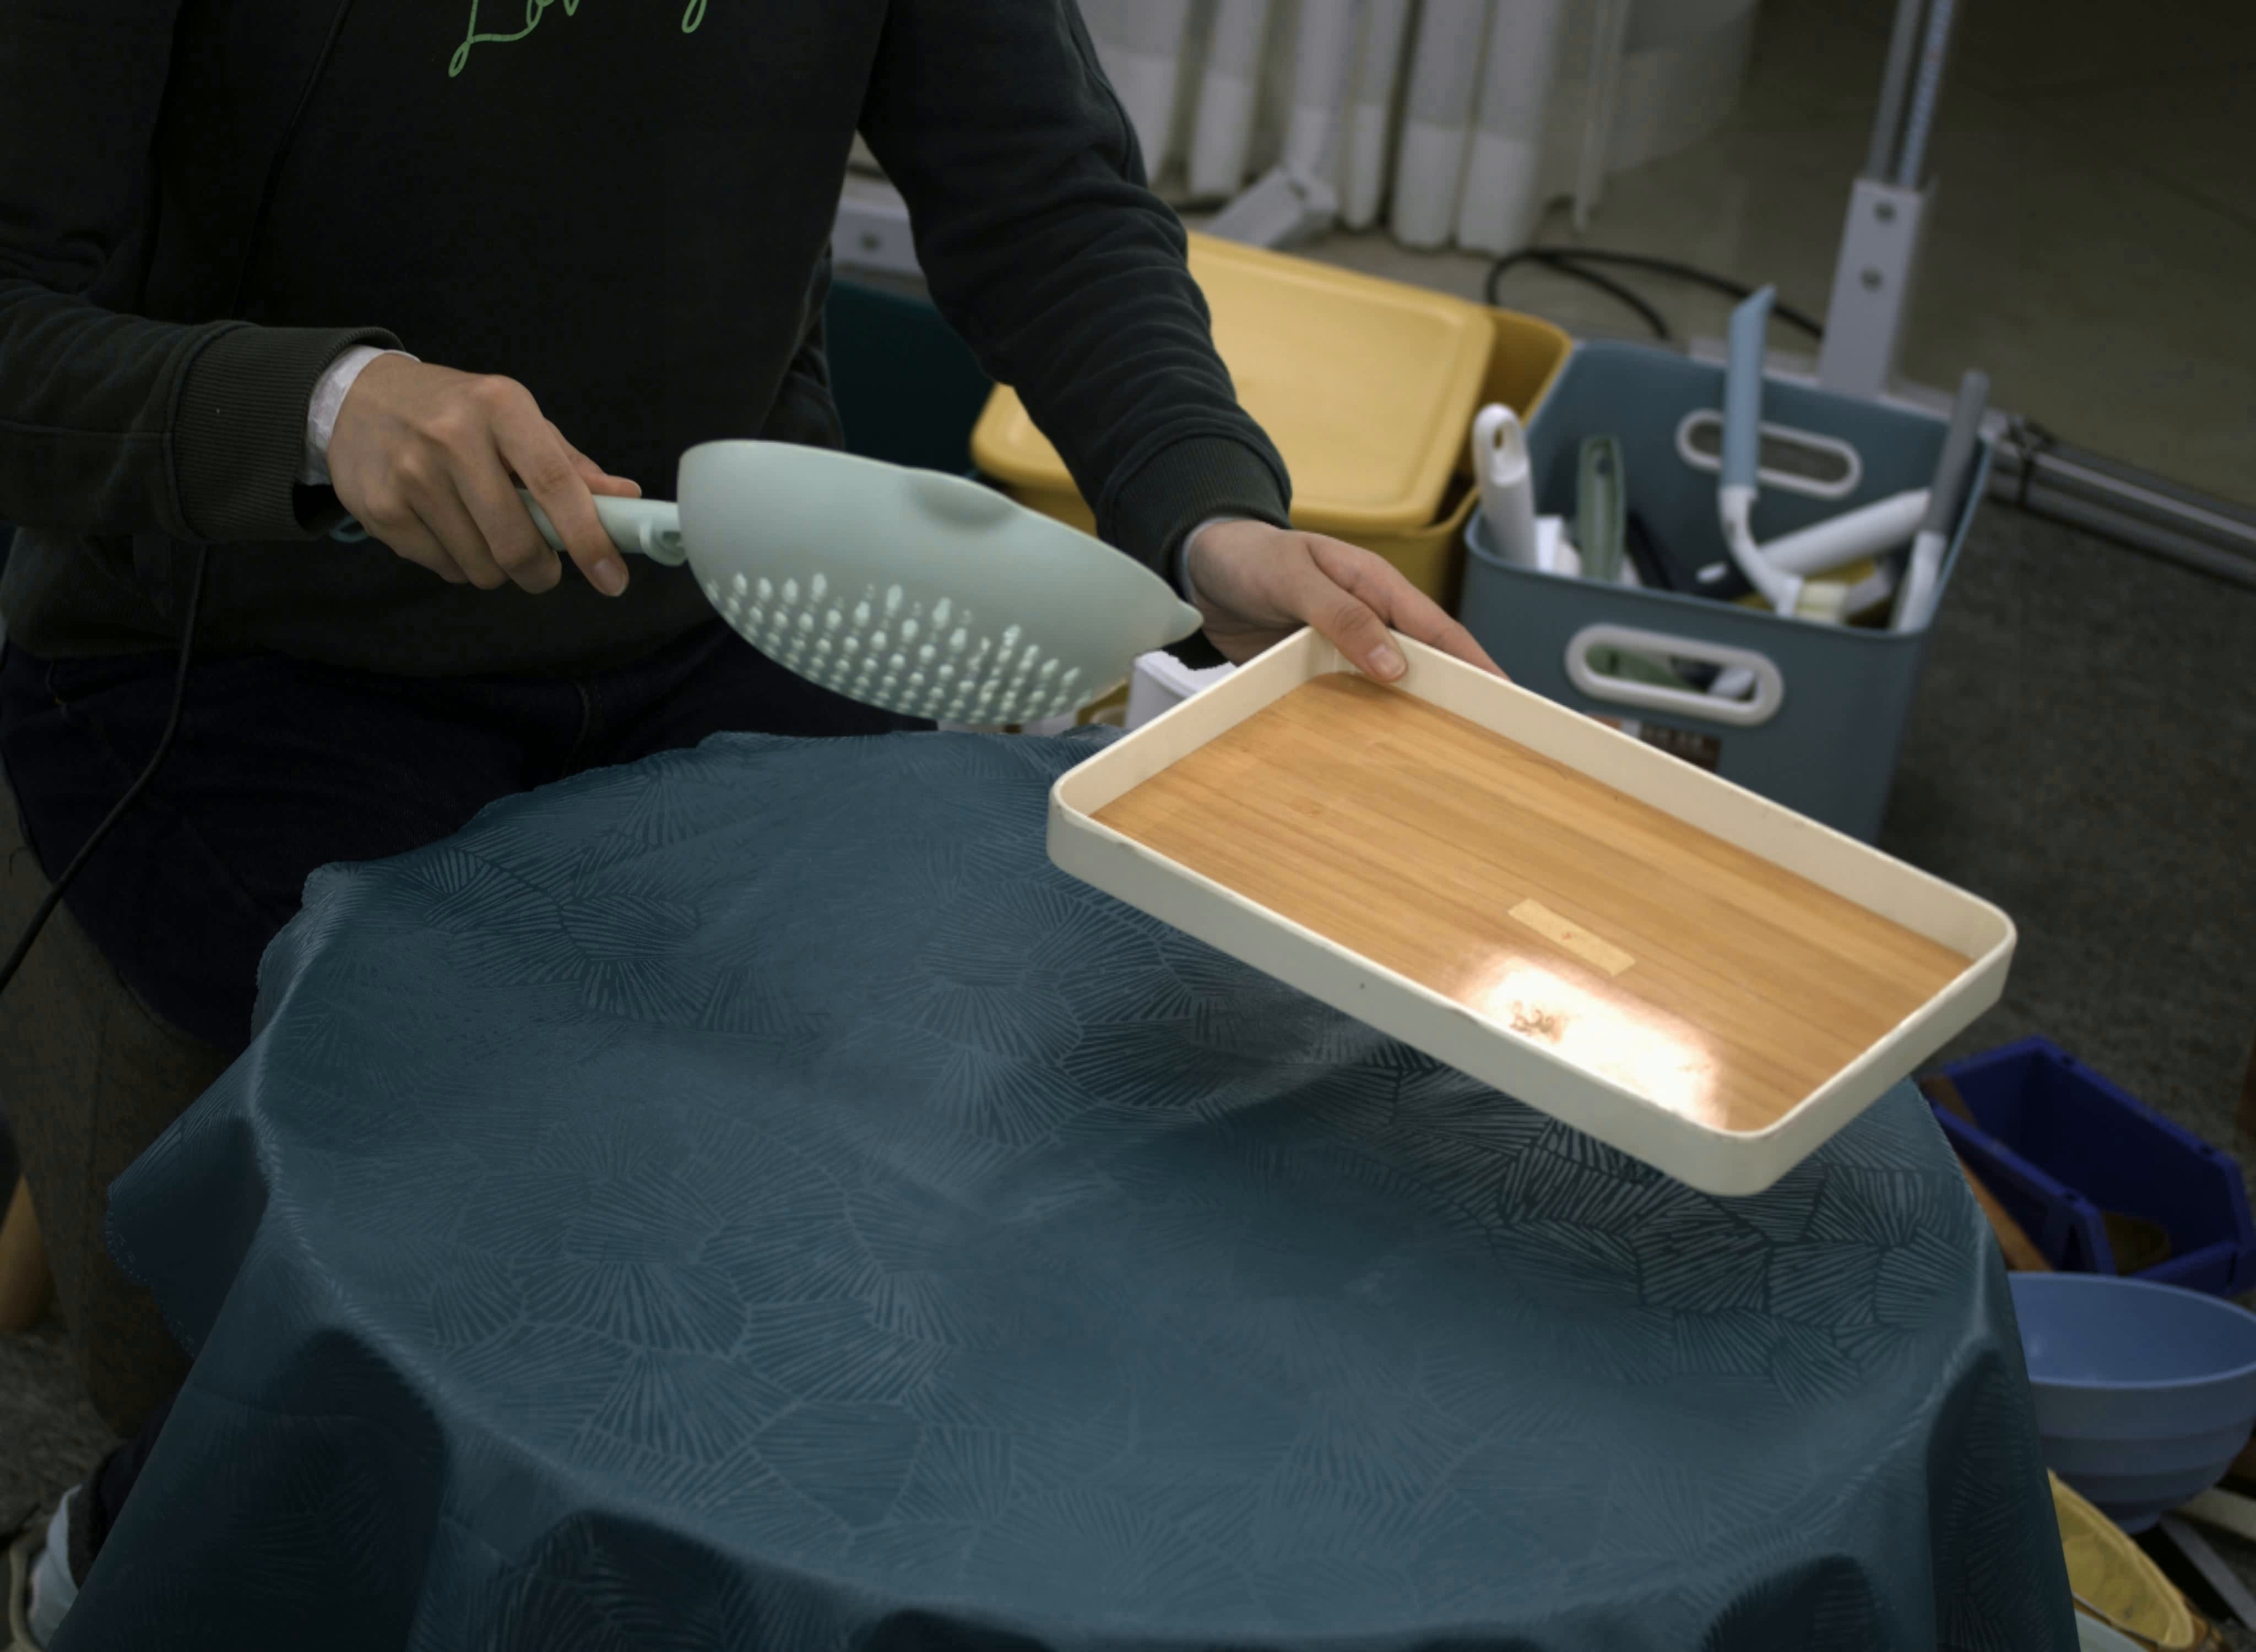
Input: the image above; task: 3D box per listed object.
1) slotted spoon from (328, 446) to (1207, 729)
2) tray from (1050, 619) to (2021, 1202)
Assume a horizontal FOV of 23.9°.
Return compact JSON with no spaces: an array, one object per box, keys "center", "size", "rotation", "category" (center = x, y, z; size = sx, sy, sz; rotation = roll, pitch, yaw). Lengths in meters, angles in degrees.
[{"center":[-0.142,-0.090,1.789],"size":[0.361,0.075,0.168],"rotation":[17,-8,41],"category":"slotted spoon"},{"center":[0.140,0.024,1.849],"size":[0.302,0.027,0.191],"rotation":[27,37,29],"category":"tray"}]
